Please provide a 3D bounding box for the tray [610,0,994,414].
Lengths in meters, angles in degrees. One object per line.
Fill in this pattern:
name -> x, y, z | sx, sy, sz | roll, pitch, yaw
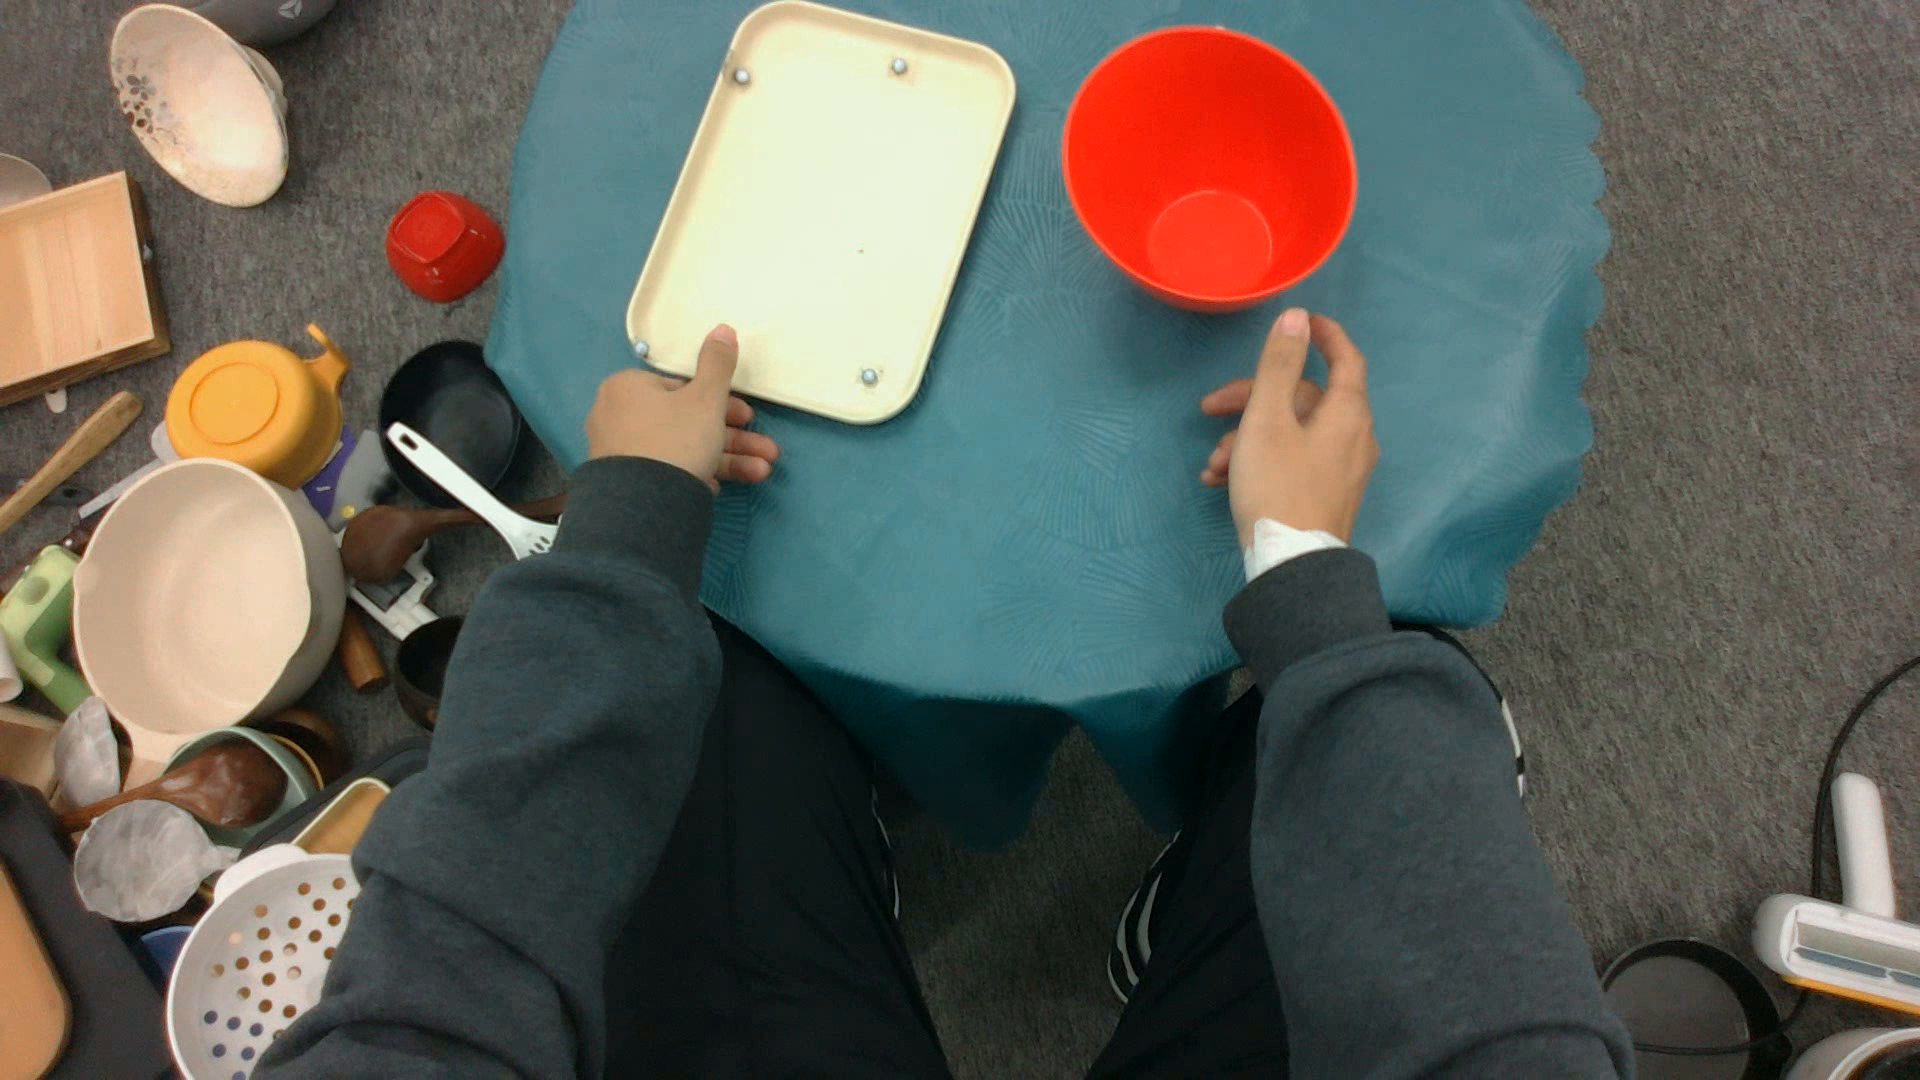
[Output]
tray -> -0.087, -0.193, 0.780 | 0.171, 0.017, 0.240 | 16, 76, 6

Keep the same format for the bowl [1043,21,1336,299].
bowl -> 0.118, -0.184, 0.726 | 0.148, 0.104, 0.148 | -1, 73, 3
